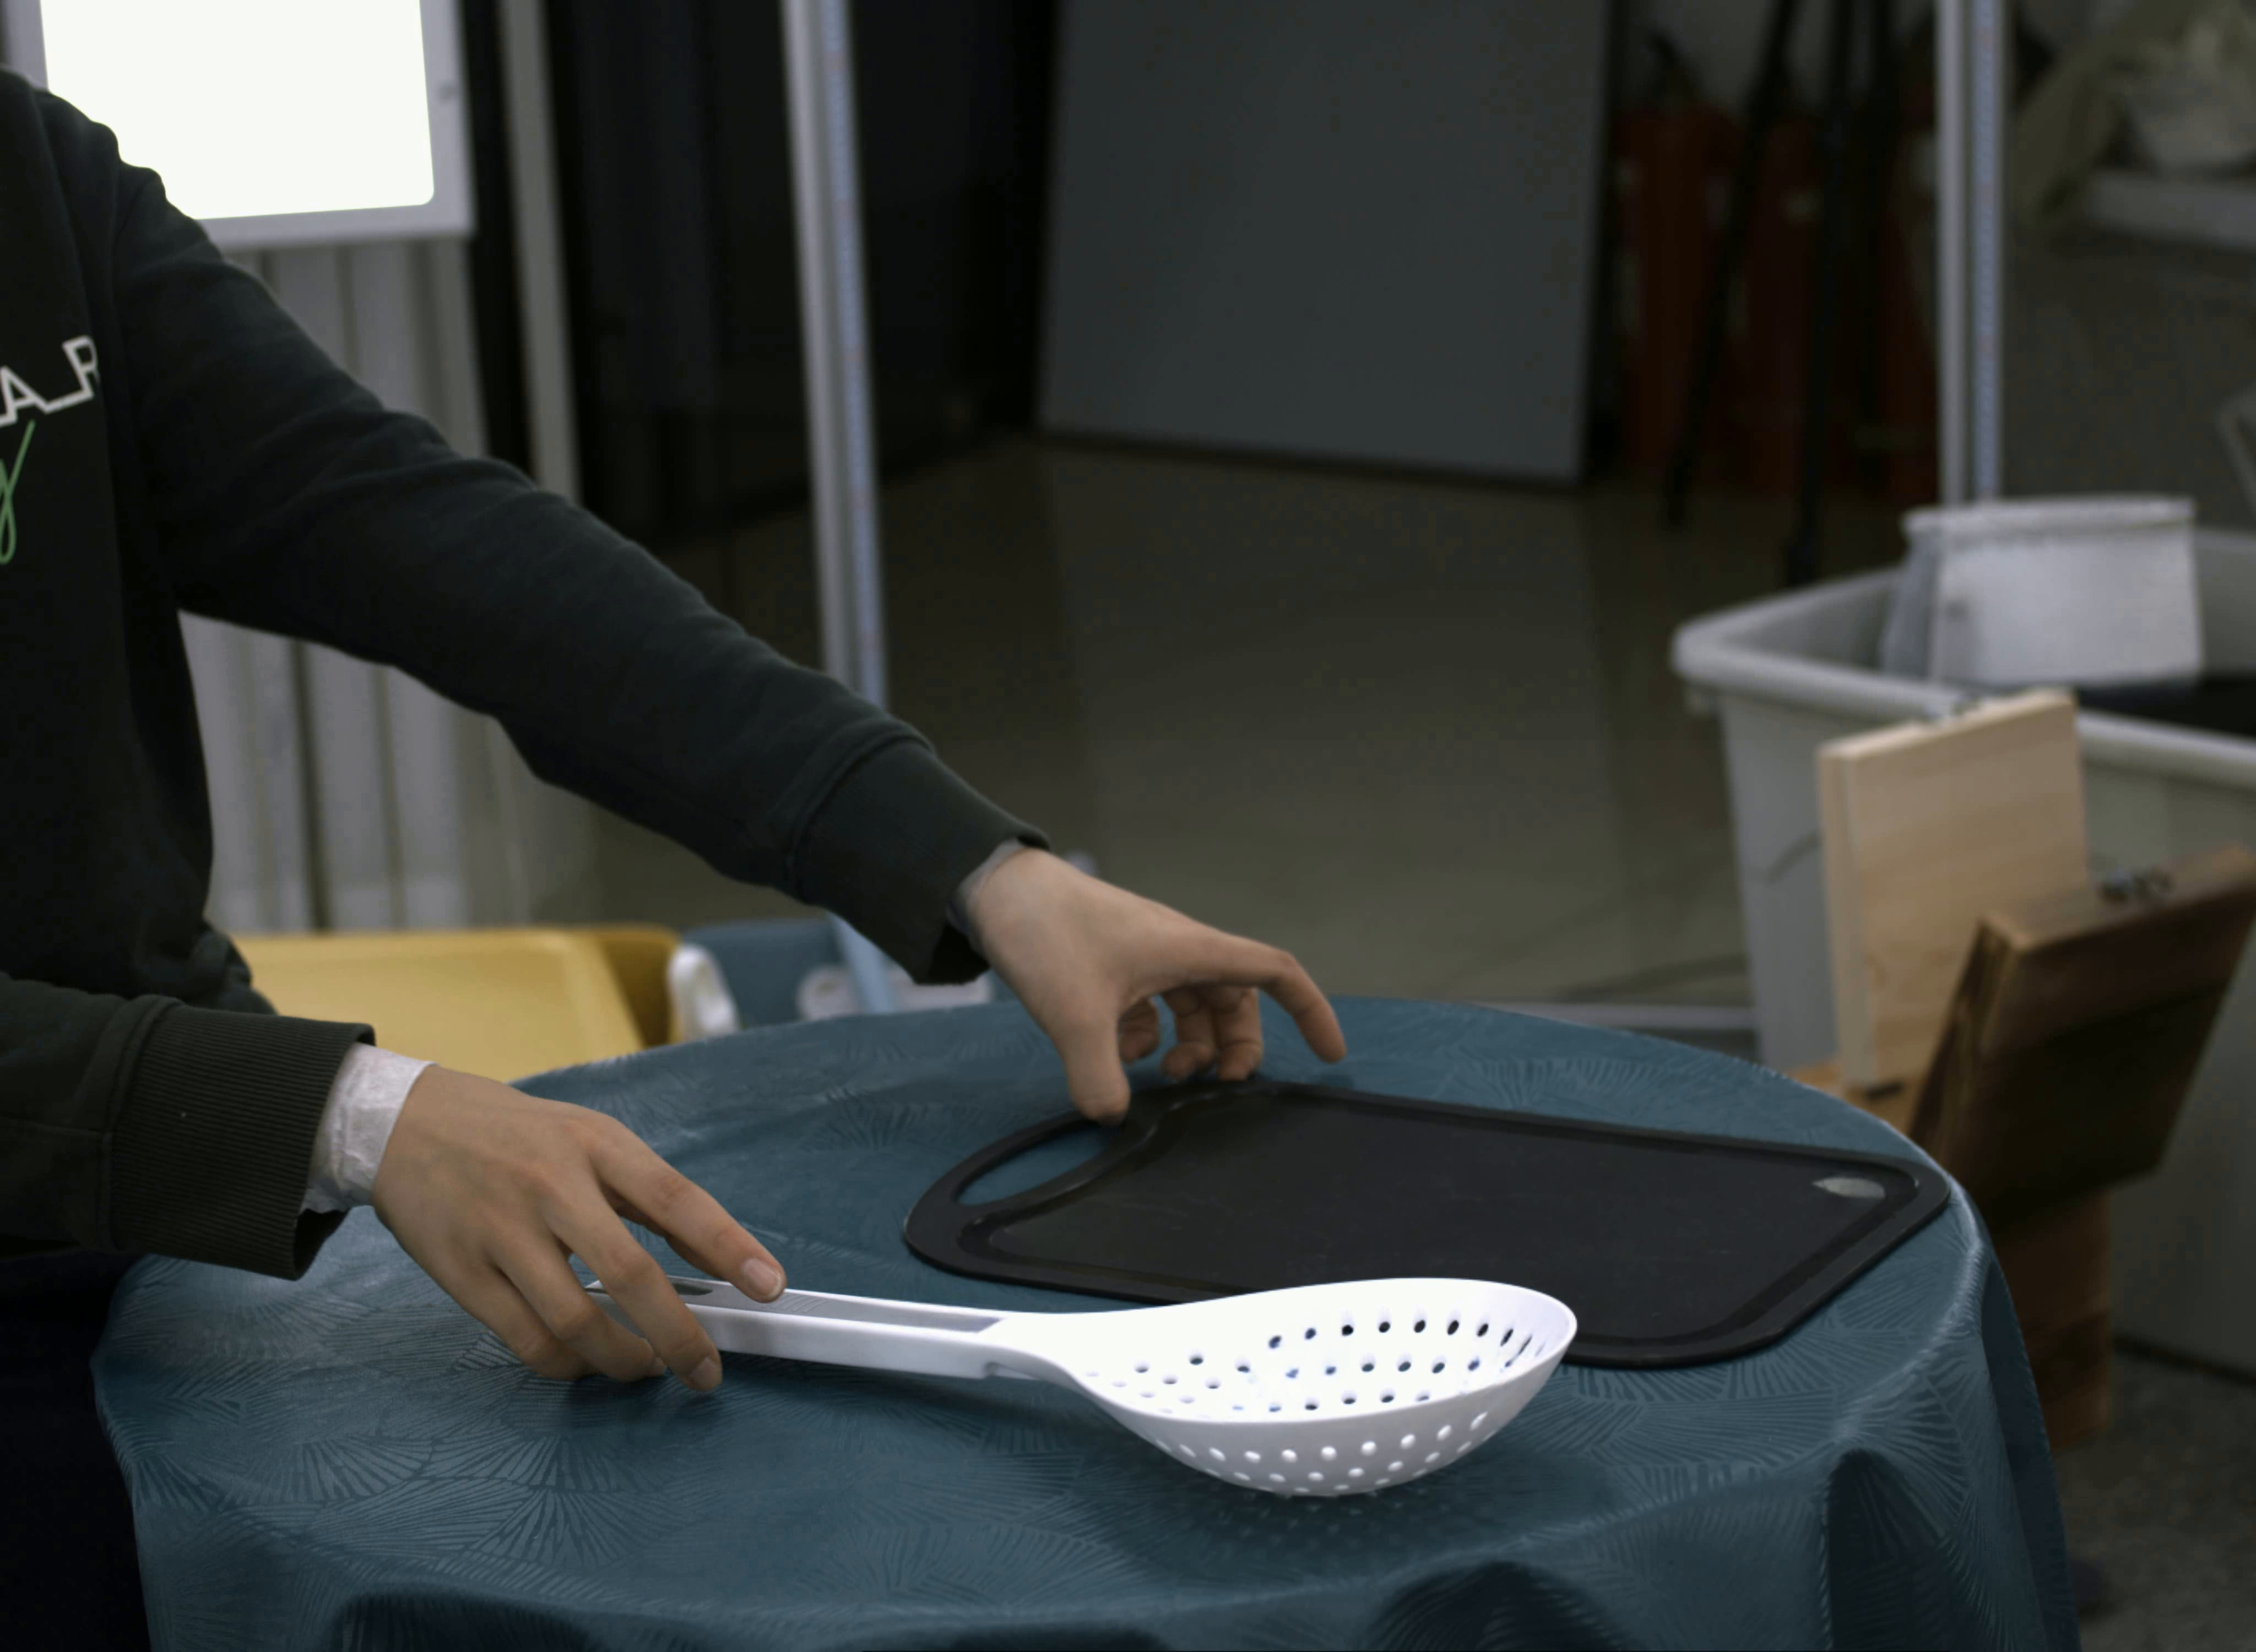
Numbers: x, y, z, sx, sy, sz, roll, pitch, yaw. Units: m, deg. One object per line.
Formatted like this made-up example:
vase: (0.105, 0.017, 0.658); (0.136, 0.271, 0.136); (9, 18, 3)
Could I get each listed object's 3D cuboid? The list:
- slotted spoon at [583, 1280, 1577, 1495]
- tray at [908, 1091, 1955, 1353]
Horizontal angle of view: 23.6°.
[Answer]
slotted spoon: (-0.026, 0.151, 1.563); (0.352, 0.046, 0.133); (6, 15, 38)
tray: (0.089, 0.122, 1.726); (0.327, 0.010, 0.208); (4, 16, 32)
